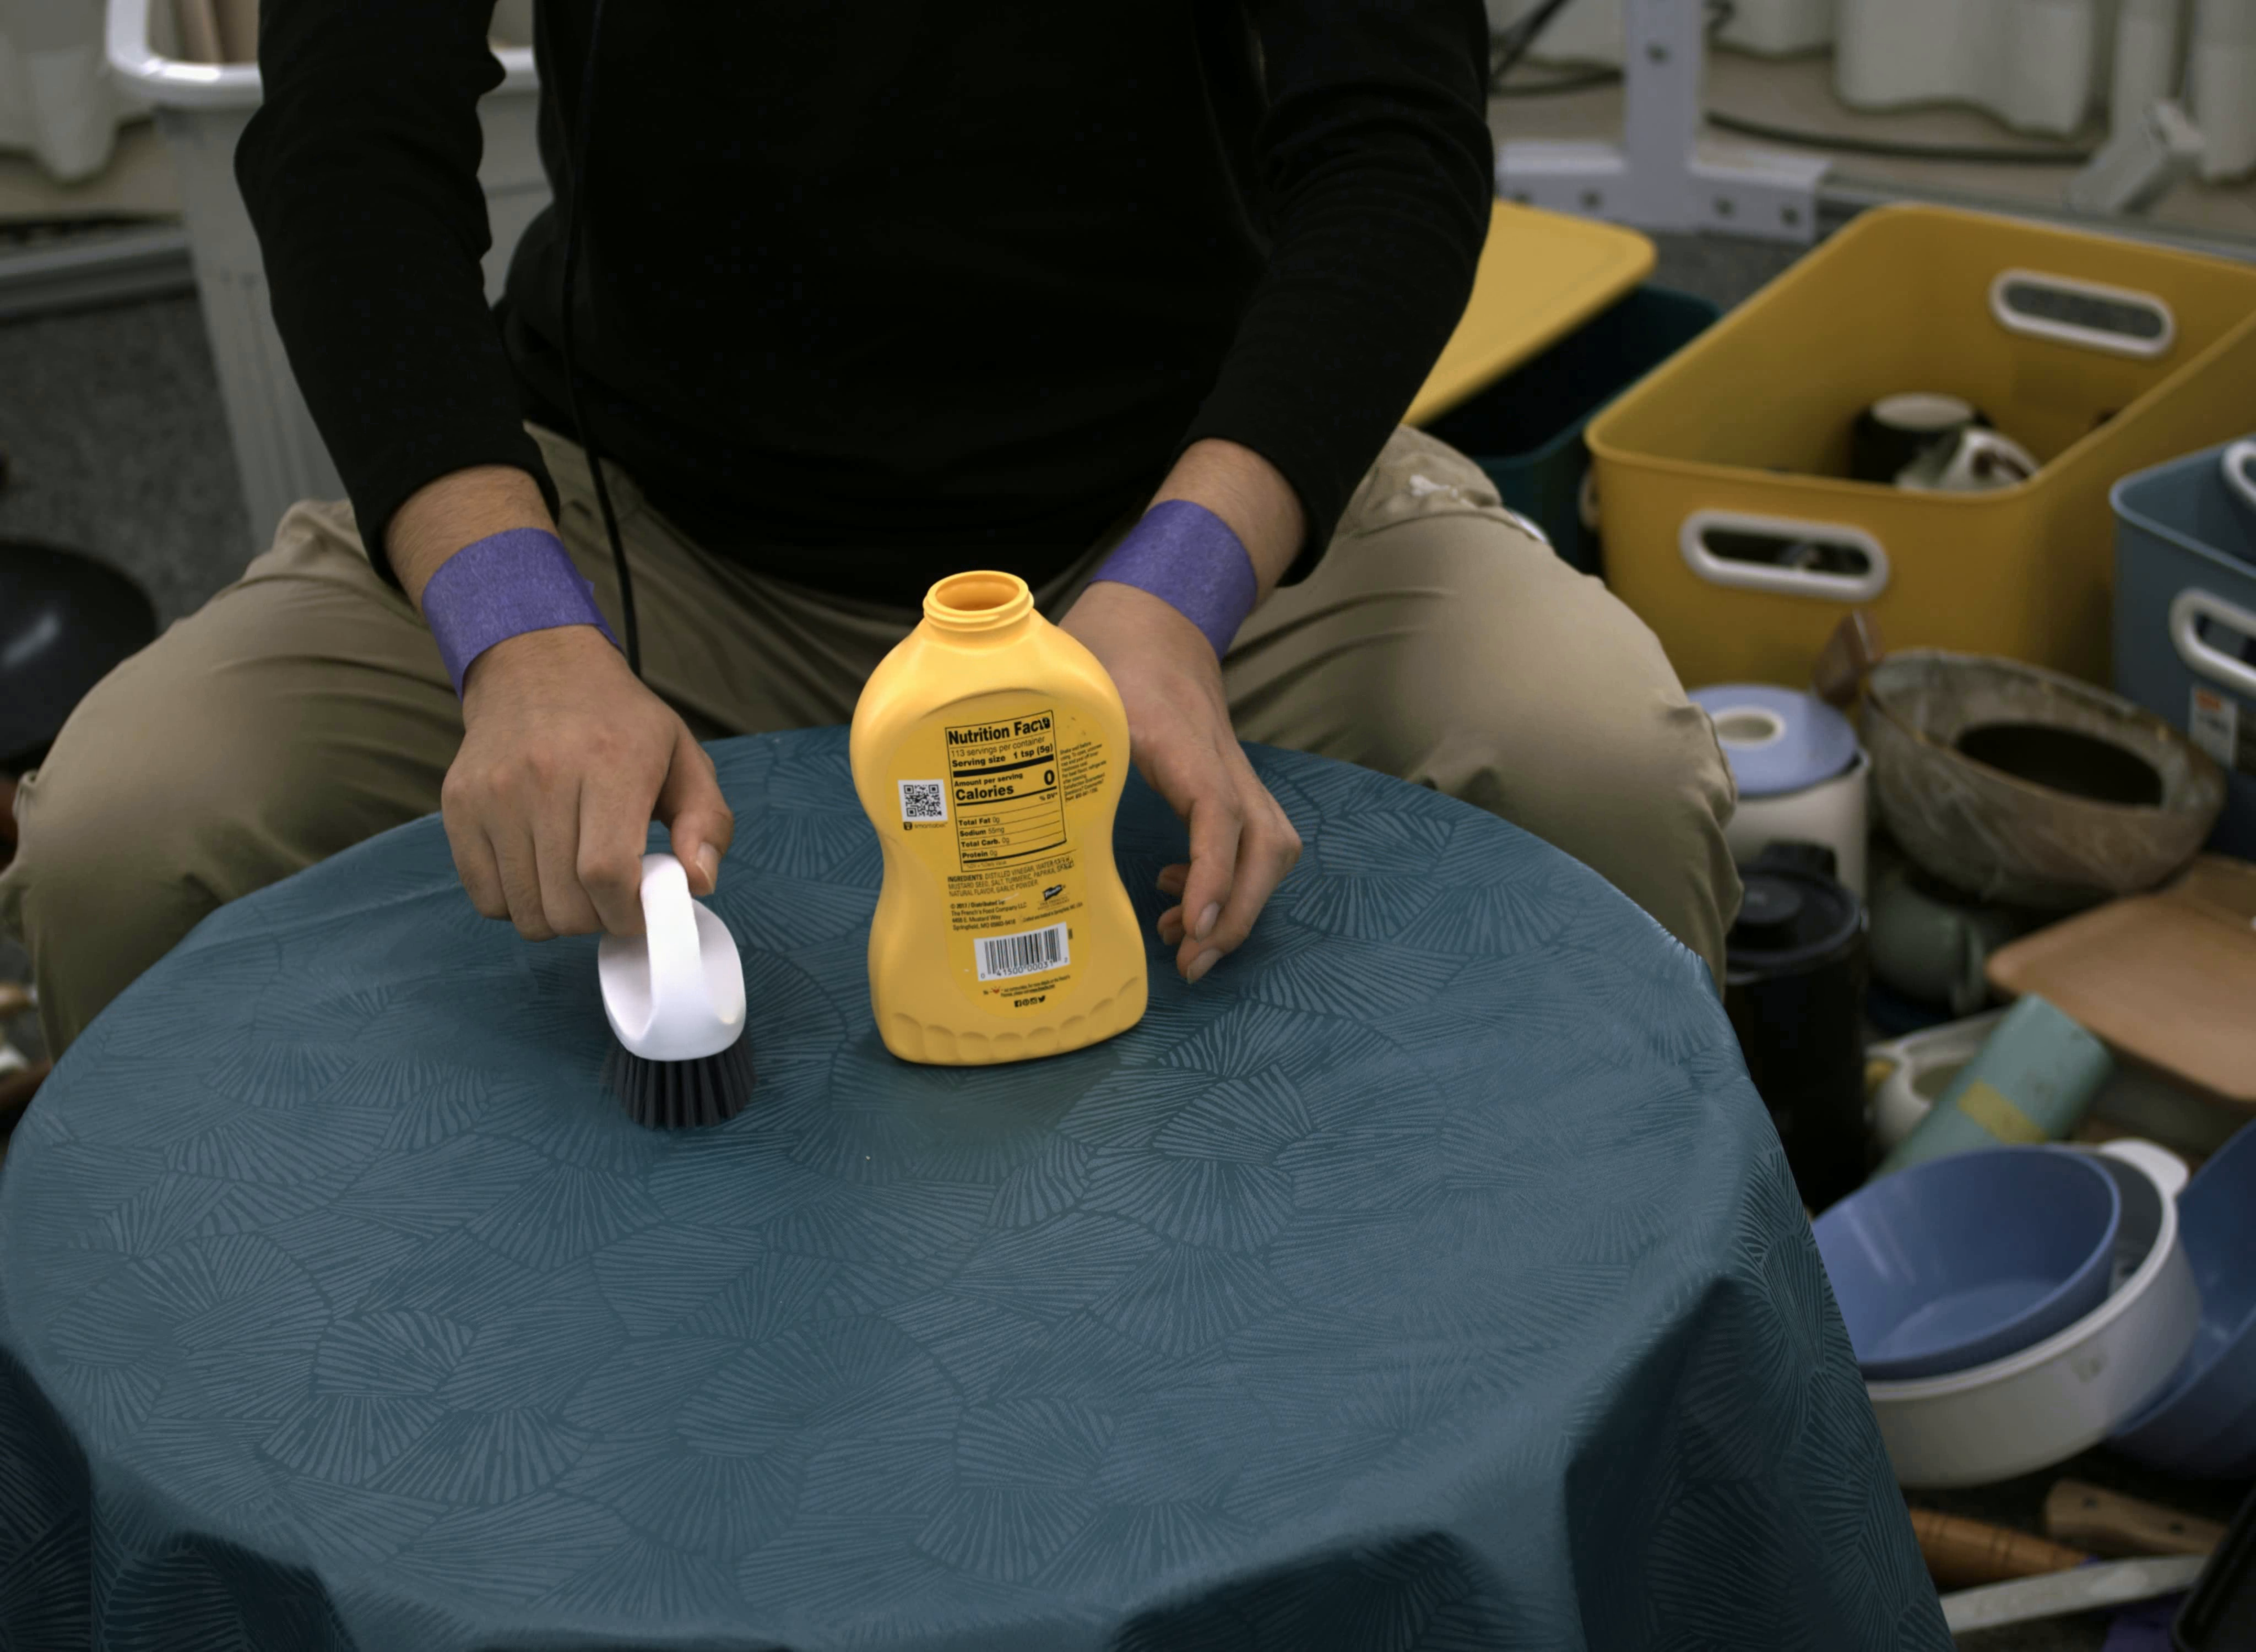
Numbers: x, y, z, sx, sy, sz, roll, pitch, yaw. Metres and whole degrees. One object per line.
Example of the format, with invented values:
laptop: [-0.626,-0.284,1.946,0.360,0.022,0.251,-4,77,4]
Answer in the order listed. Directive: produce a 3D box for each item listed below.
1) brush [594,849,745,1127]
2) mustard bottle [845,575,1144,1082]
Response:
brush: [-0.159,0.049,1.937,0.050,0.072,0.100,-4,28,-6]
mustard bottle: [-0.048,-0.001,1.923,0.098,0.170,0.060,-11,23,-13]
